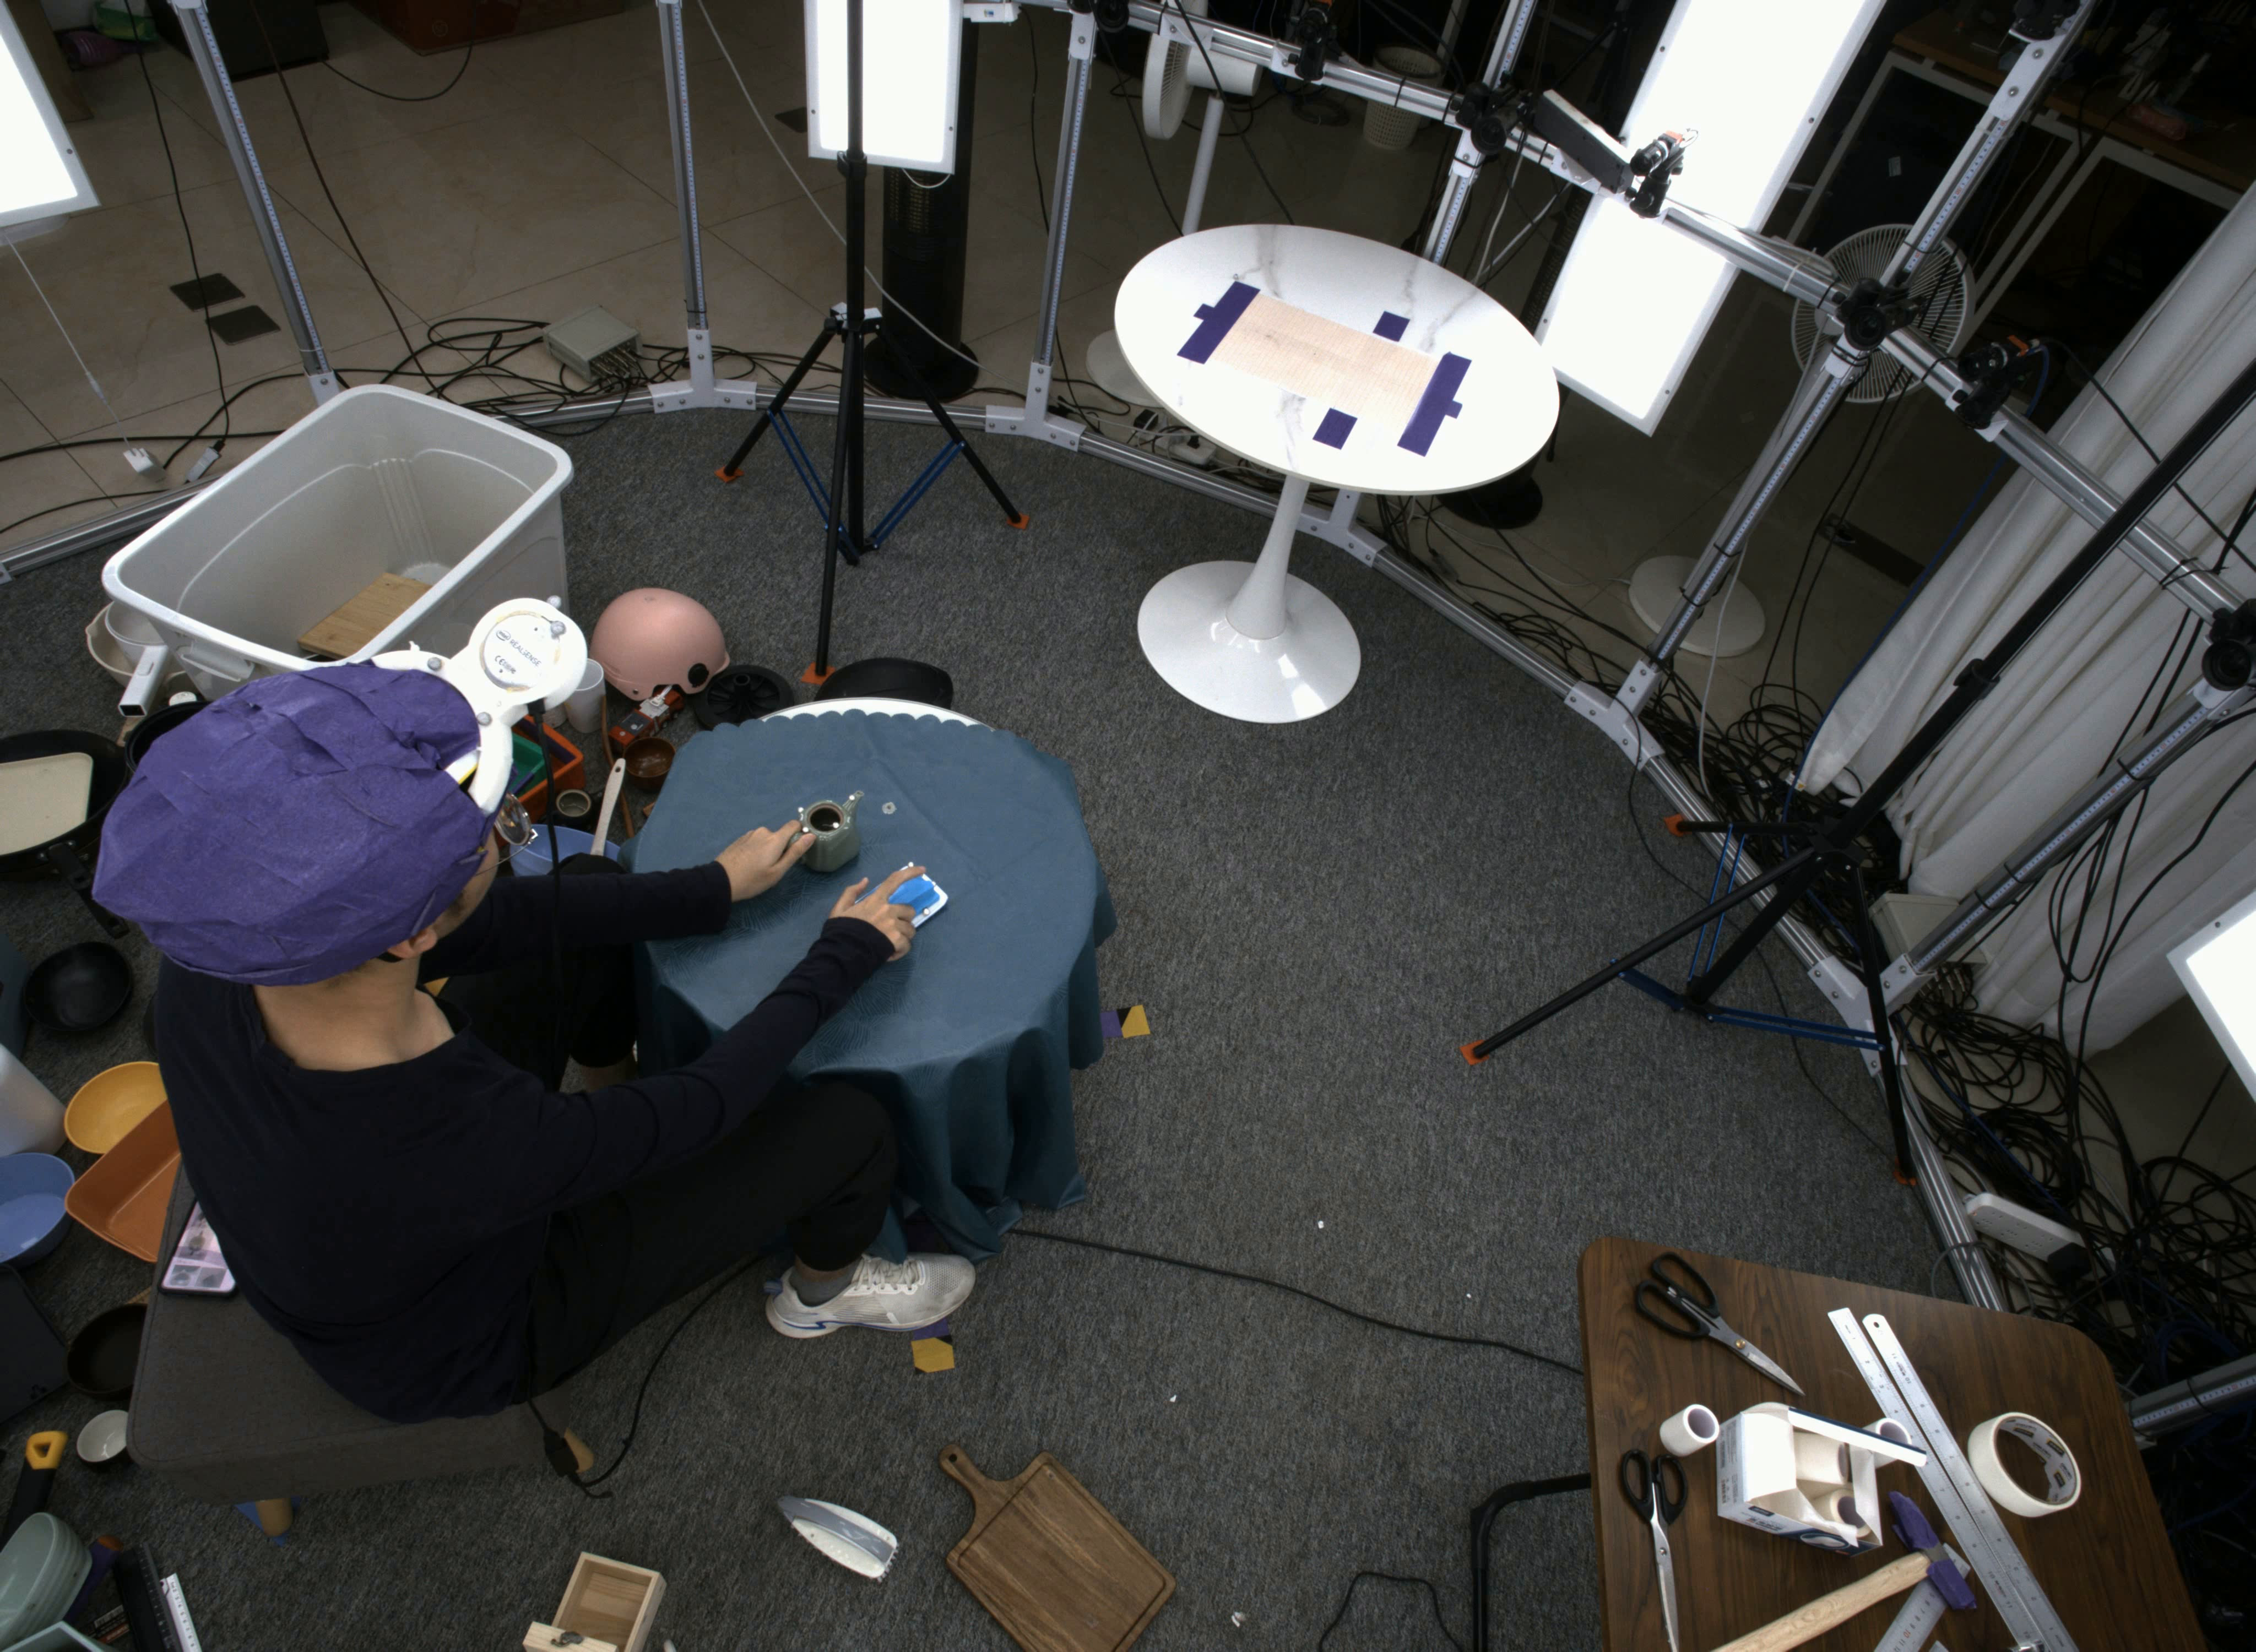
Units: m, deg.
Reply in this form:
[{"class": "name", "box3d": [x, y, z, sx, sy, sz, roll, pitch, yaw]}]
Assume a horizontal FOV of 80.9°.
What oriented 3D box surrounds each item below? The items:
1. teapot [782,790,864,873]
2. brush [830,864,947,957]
[{"class": "teapot", "box3d": [-0.392, 0.009, 1.680, 0.078, 0.077, 0.132, 39, 56, 17]}, {"class": "brush", "box3d": [-0.303, 0.098, 1.644, 0.082, 0.057, 0.144, 40, 52, 21]}]
